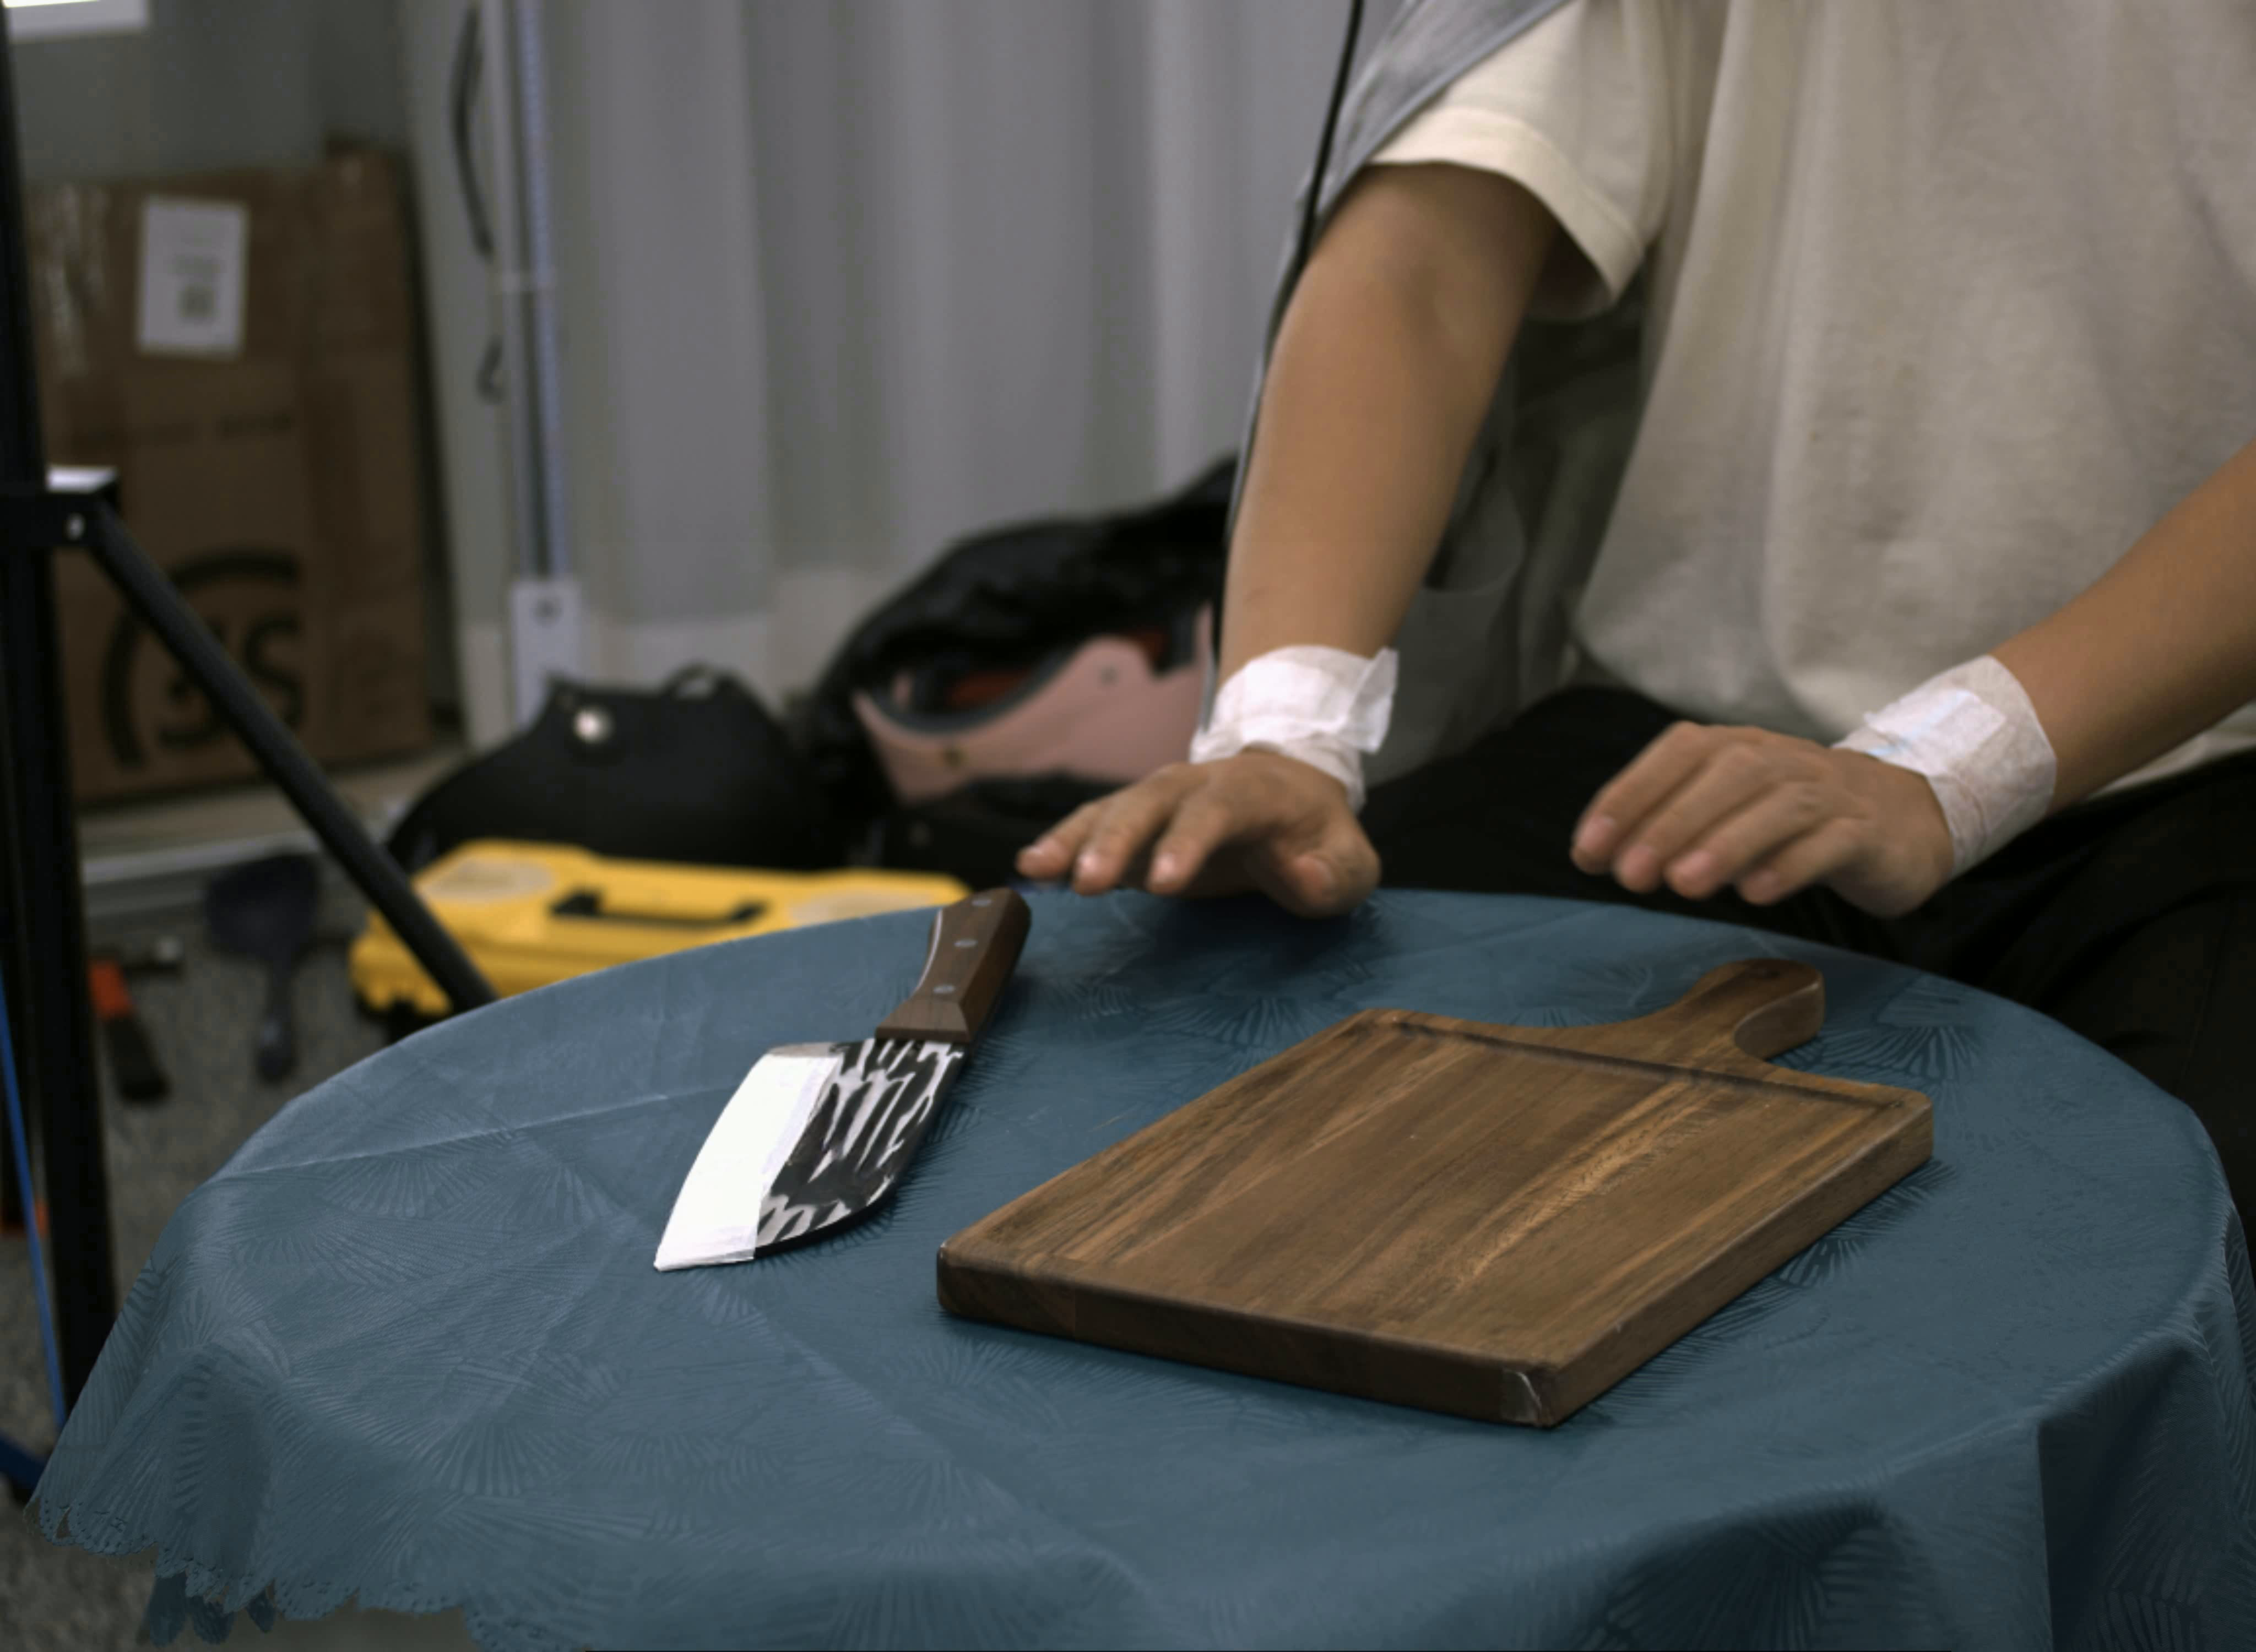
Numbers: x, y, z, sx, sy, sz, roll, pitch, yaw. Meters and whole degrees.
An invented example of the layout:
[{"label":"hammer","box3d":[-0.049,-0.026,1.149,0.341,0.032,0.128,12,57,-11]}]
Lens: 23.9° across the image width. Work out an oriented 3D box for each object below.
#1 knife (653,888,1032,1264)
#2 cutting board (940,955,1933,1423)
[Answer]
[{"label":"knife","box3d":[-0.085,0.077,1.645,0.068,0.024,0.298,-2,18,12]},{"label":"cutting board","box3d":[0.118,0.094,1.548,0.205,0.023,0.345,7,18,31]}]
